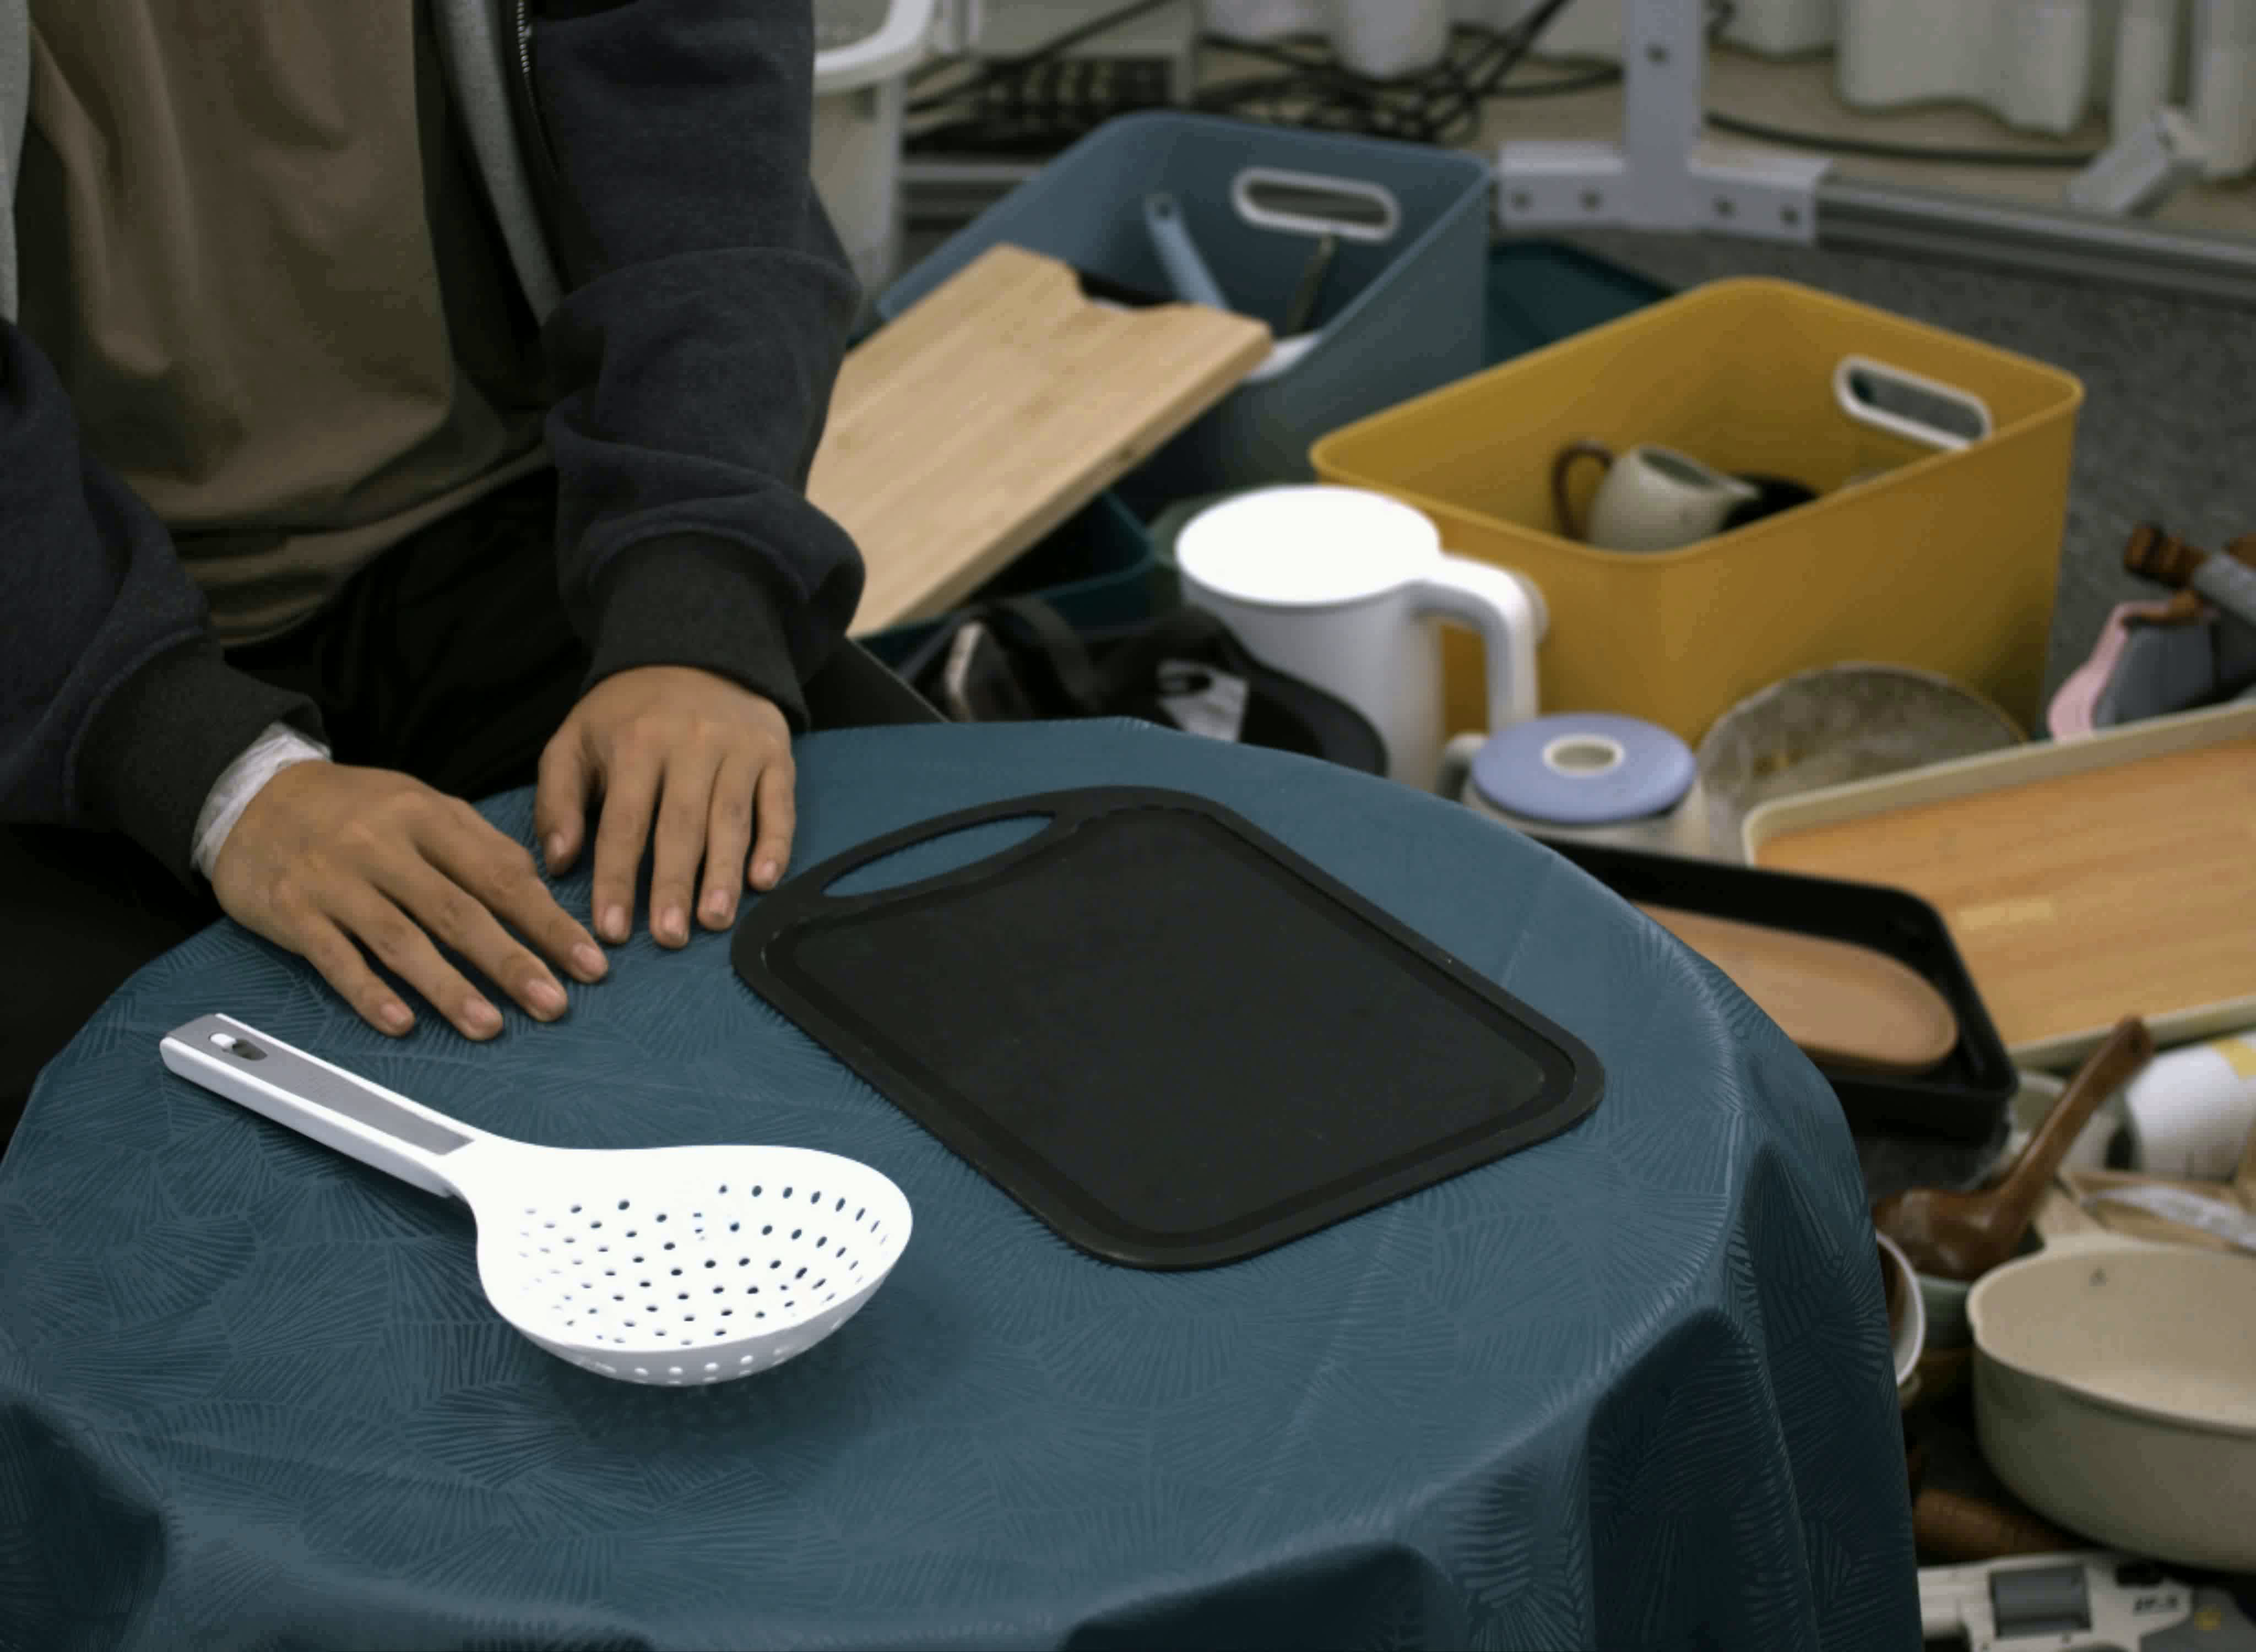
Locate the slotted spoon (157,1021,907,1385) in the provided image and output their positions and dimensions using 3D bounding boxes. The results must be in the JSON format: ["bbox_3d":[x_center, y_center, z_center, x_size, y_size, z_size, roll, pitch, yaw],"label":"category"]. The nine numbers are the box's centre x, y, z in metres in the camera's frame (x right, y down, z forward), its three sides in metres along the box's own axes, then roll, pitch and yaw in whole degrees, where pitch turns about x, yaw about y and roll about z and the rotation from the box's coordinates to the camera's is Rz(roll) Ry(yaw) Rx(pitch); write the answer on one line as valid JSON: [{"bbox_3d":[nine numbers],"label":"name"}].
[{"bbox_3d":[-0.211,0.116,1.845,0.137,0.045,0.349,-24,33,-38],"label":"slotted spoon"}]

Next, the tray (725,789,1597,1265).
[{"bbox_3d":[0.002,0.061,1.972,0.212,0.009,0.326,-18,31,-27],"label":"tray"}]
